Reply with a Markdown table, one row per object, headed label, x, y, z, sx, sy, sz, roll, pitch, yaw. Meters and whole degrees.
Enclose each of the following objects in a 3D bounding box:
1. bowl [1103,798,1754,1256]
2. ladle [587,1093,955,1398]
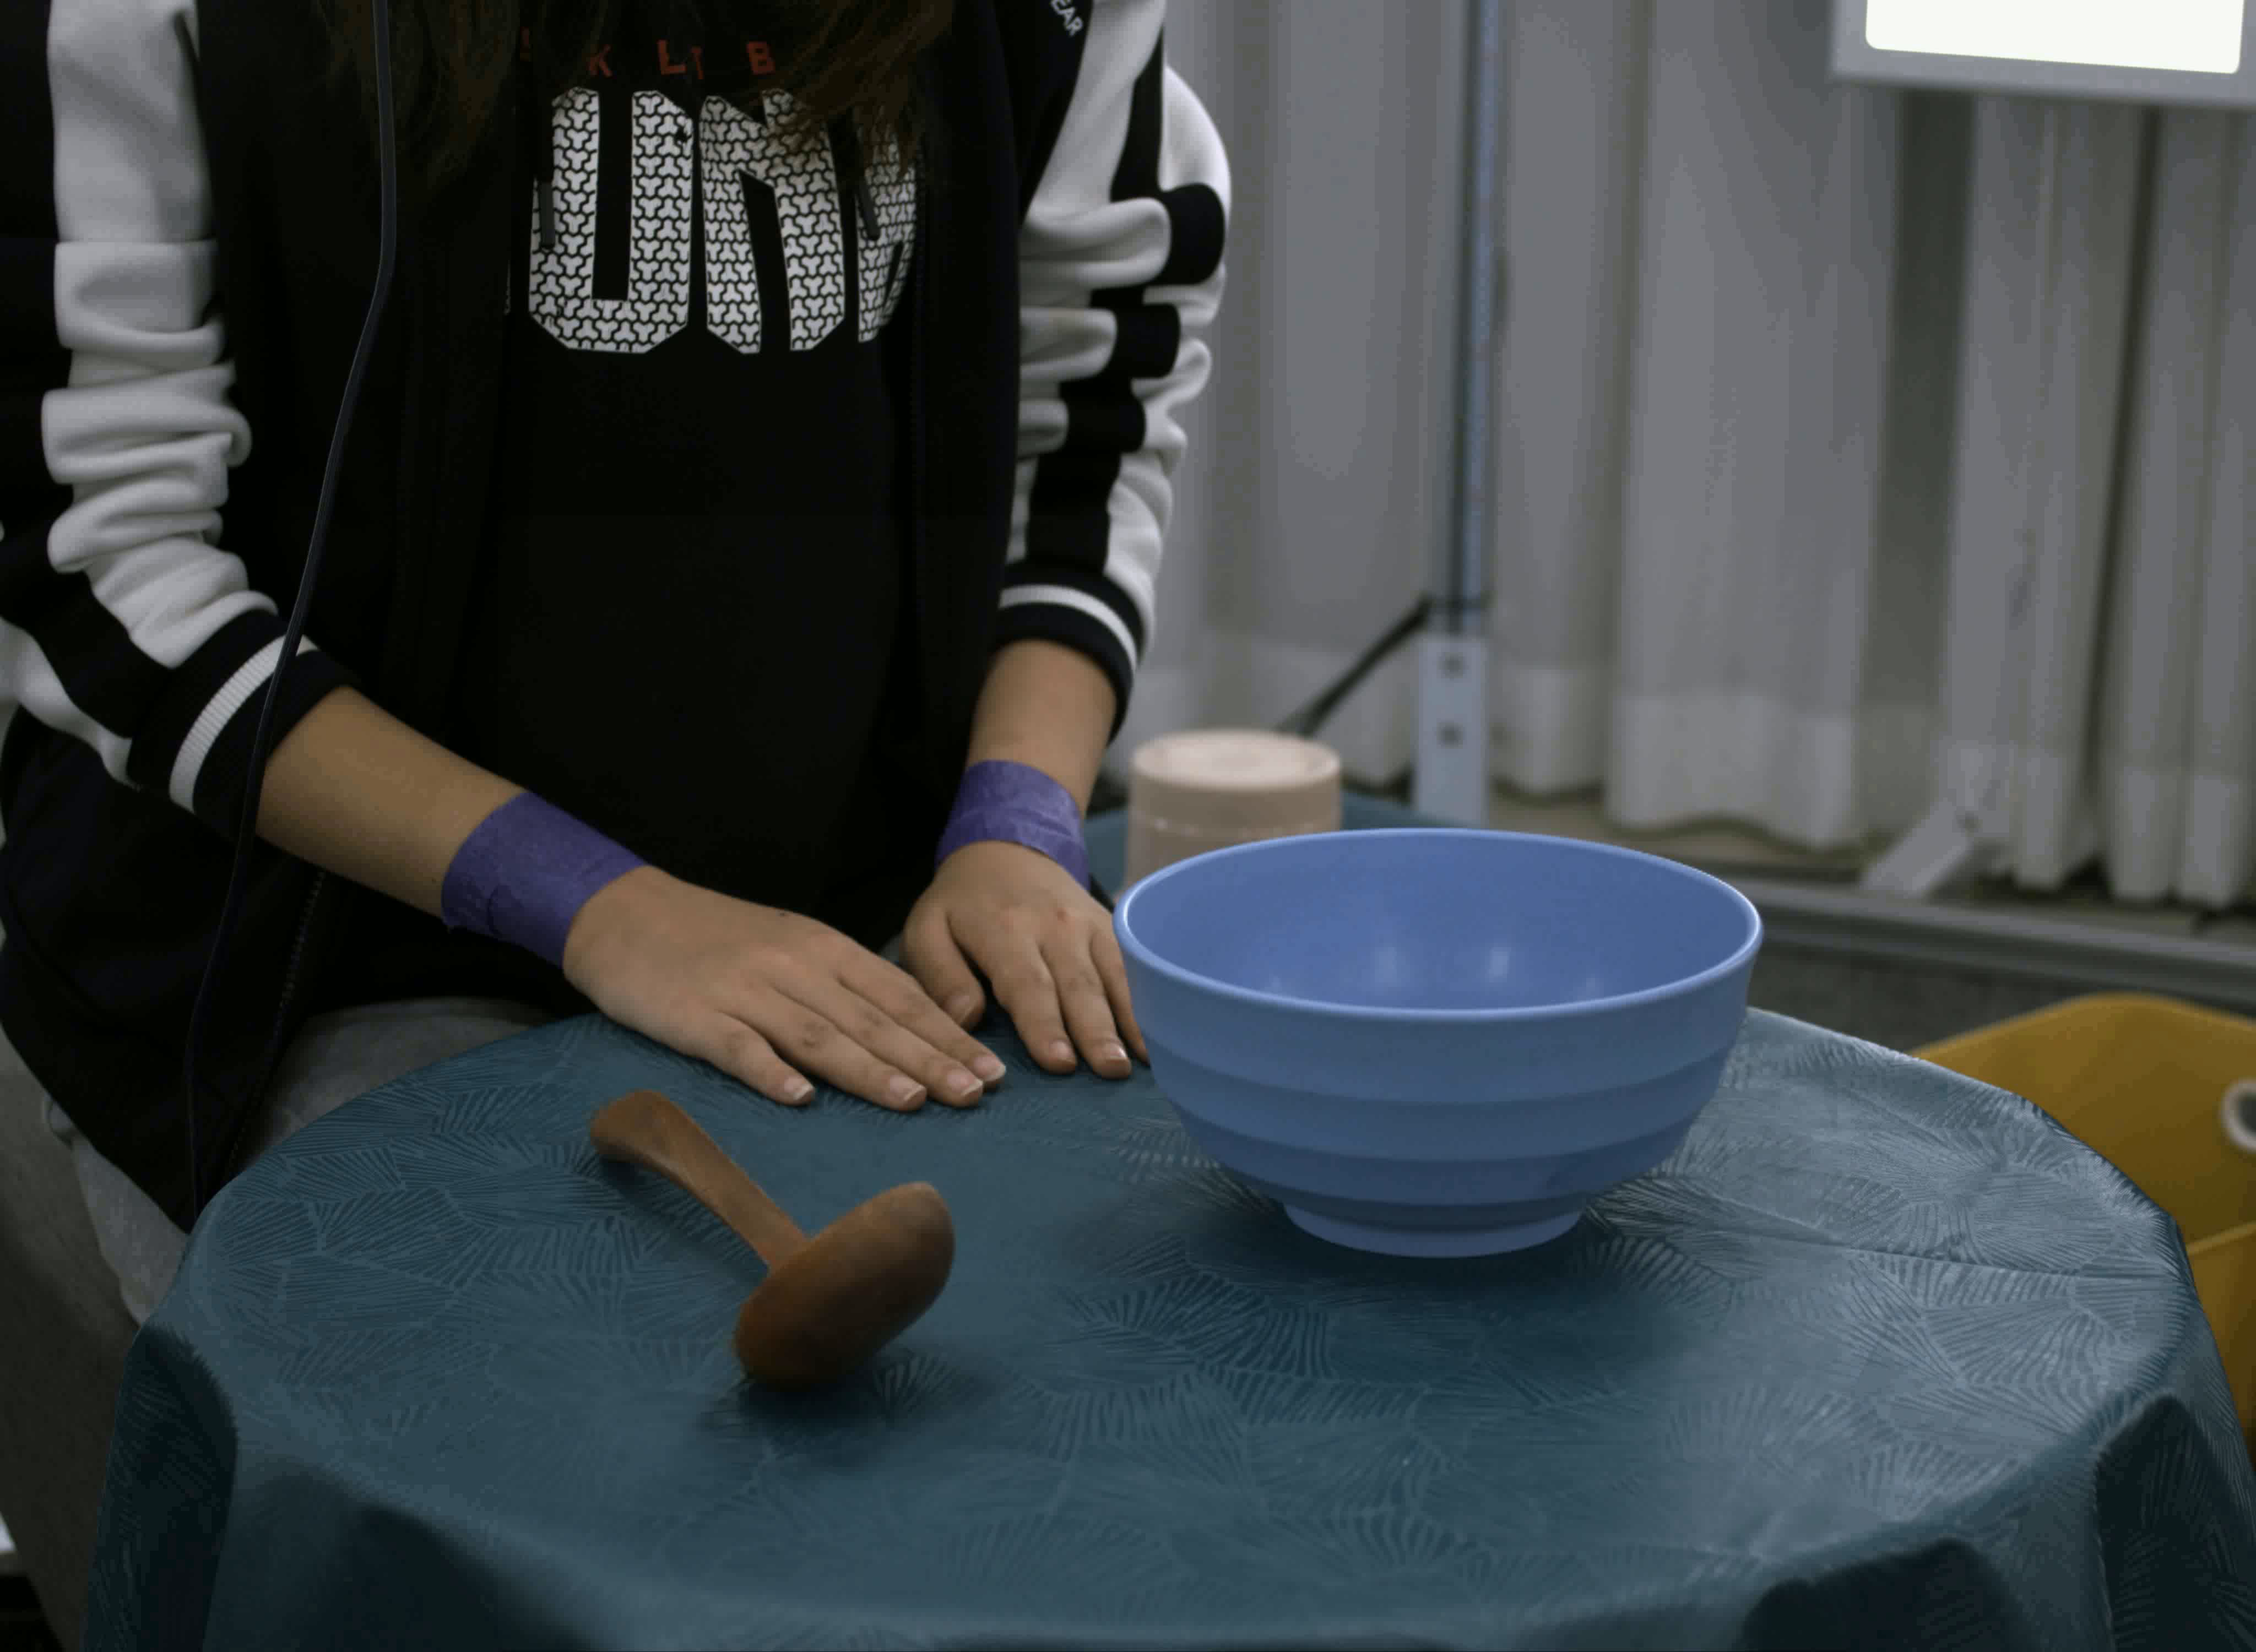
| label | x | y | z | sx | sy | sz | roll | pitch | yaw |
| --- | --- | --- | --- | --- | --- | --- | --- | --- | --- |
| bowl | 0.092 | 0.069 | 1.604 | 0.196 | 0.096 | 0.195 | -2 | 21 | 1 |
| ladle | -0.119 | 0.104 | 1.534 | 0.076 | 0.066 | 0.257 | -34 | 26 | -13 |
